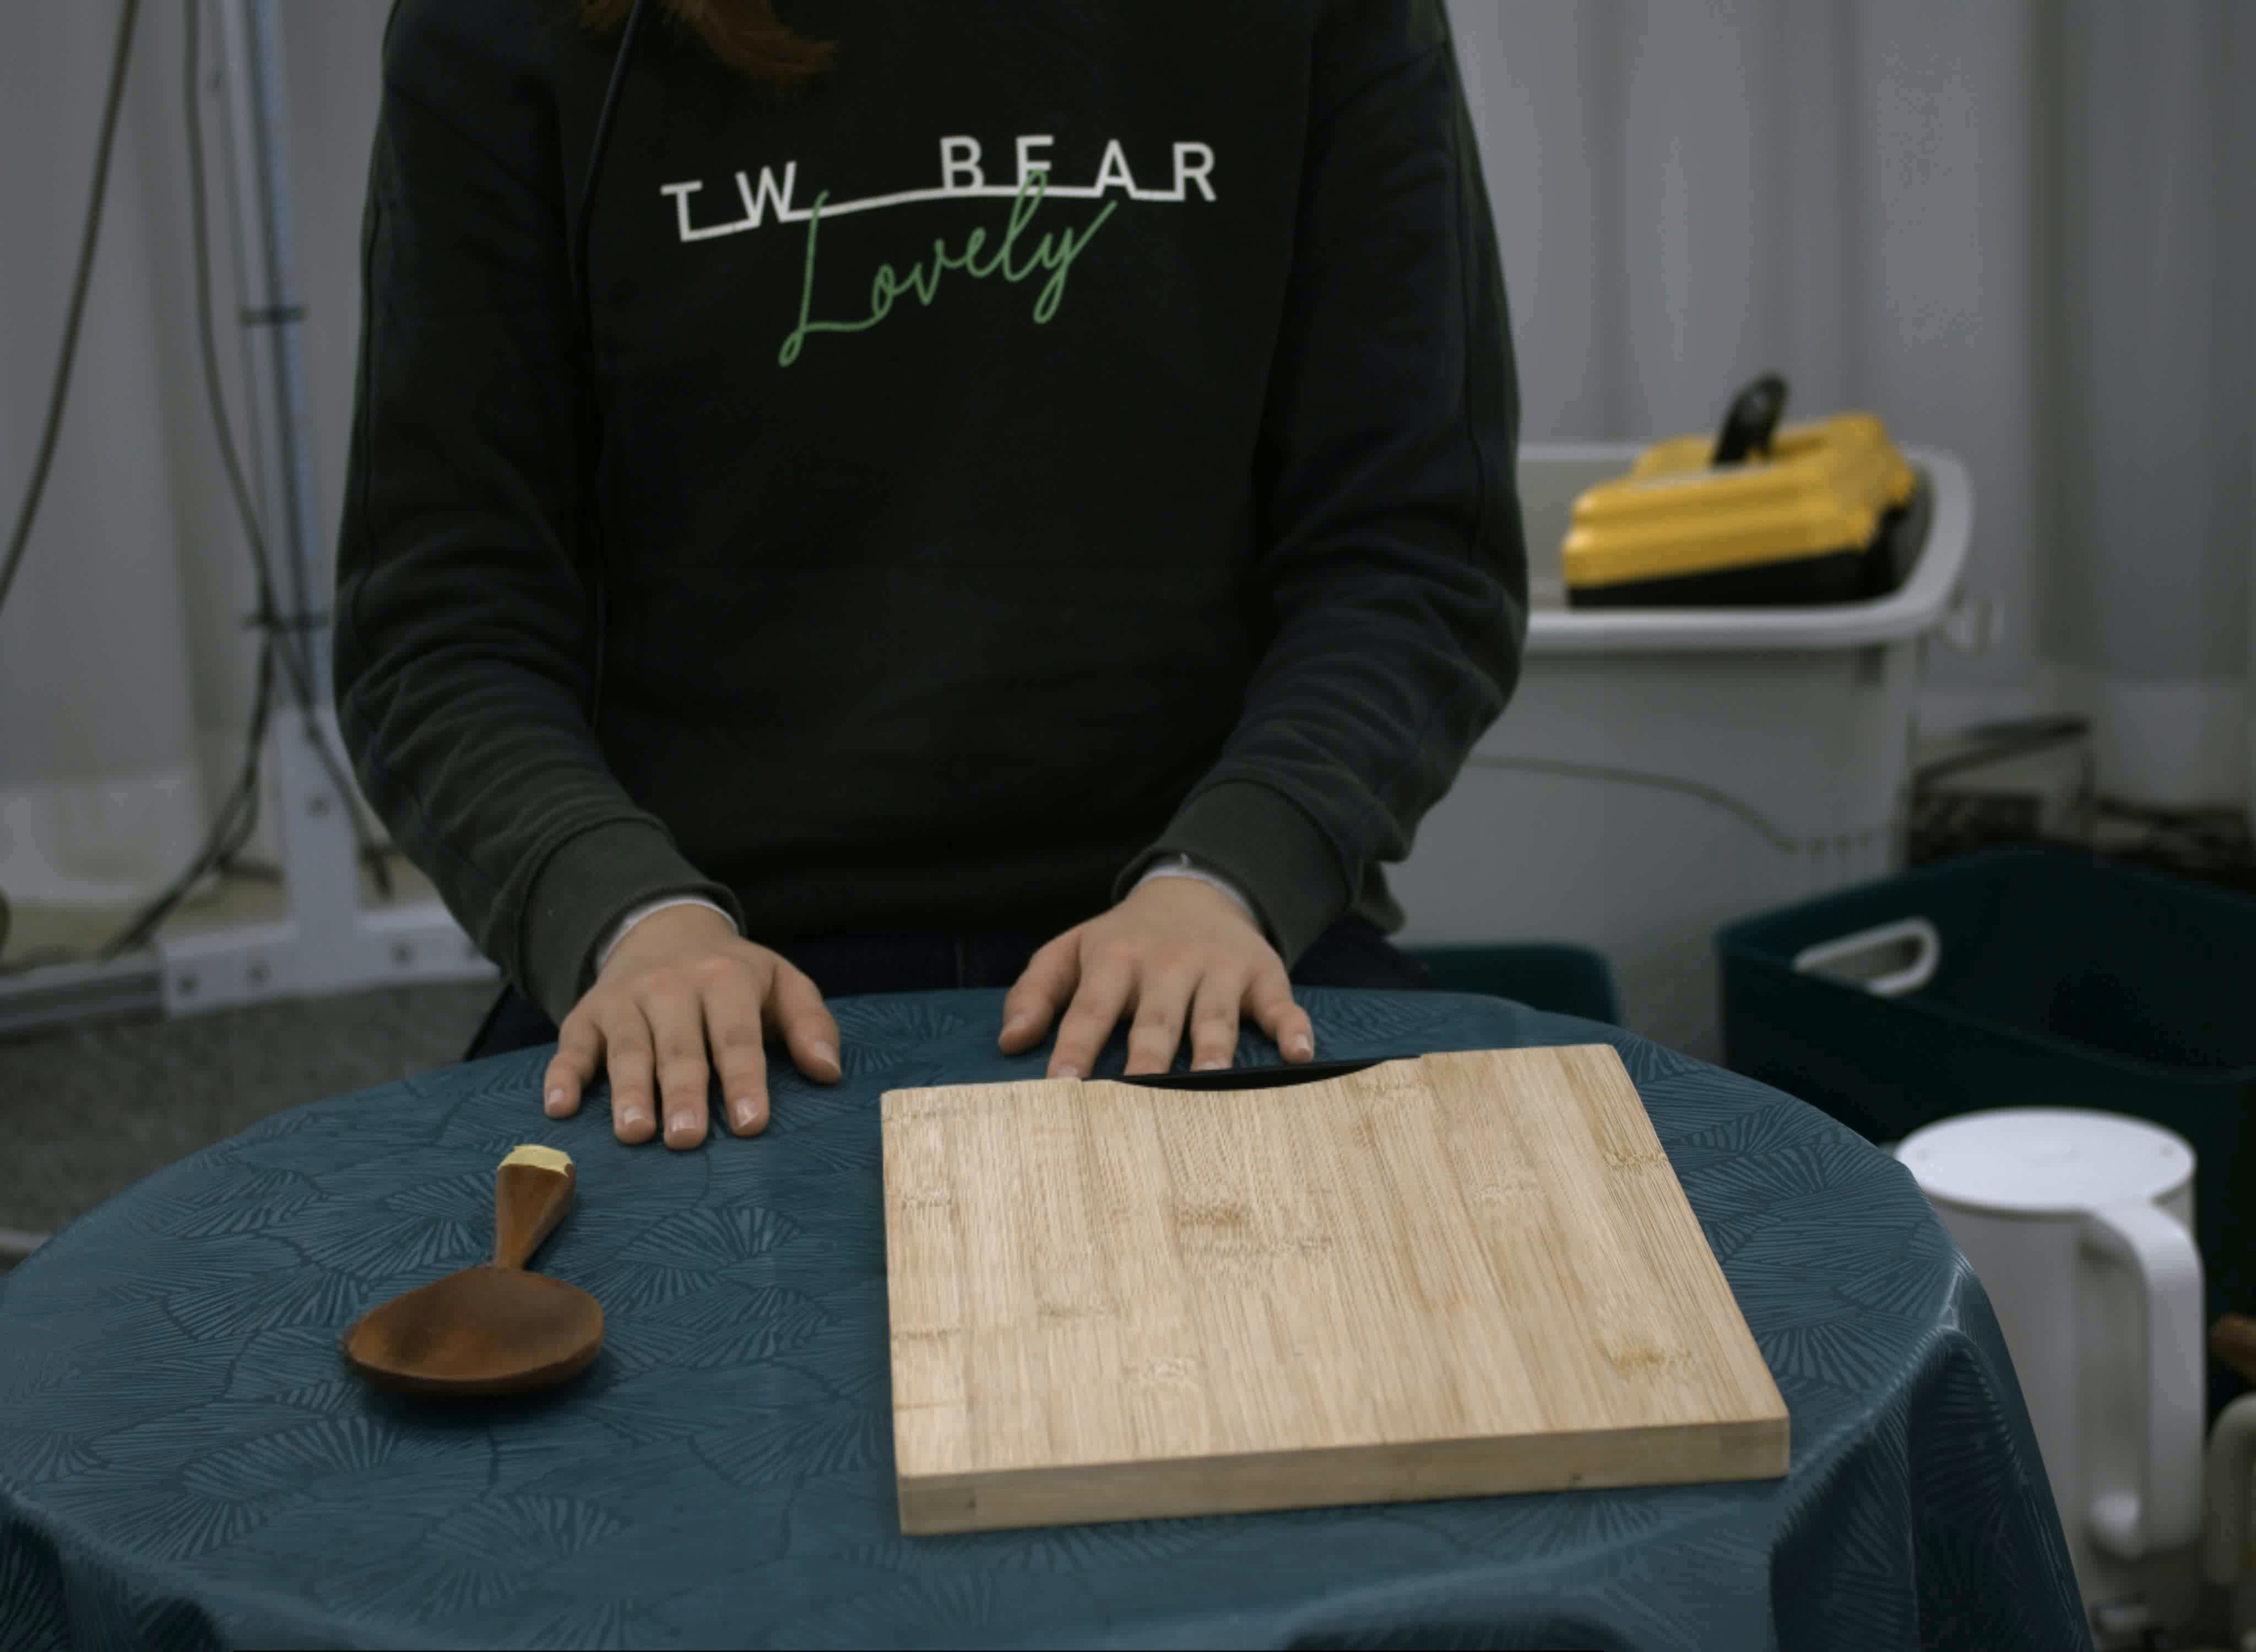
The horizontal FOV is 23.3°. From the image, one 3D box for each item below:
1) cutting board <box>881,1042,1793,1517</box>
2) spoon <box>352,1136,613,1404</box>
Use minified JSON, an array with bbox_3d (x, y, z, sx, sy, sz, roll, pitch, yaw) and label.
[{"bbox_3d":[0.049,0.129,1.620,0.250,0.023,0.351,-3,15,-3],"label":"cutting board"},{"bbox_3d":[-0.186,0.134,1.641,0.075,0.017,0.217,-4,15,1],"label":"spoon"}]
